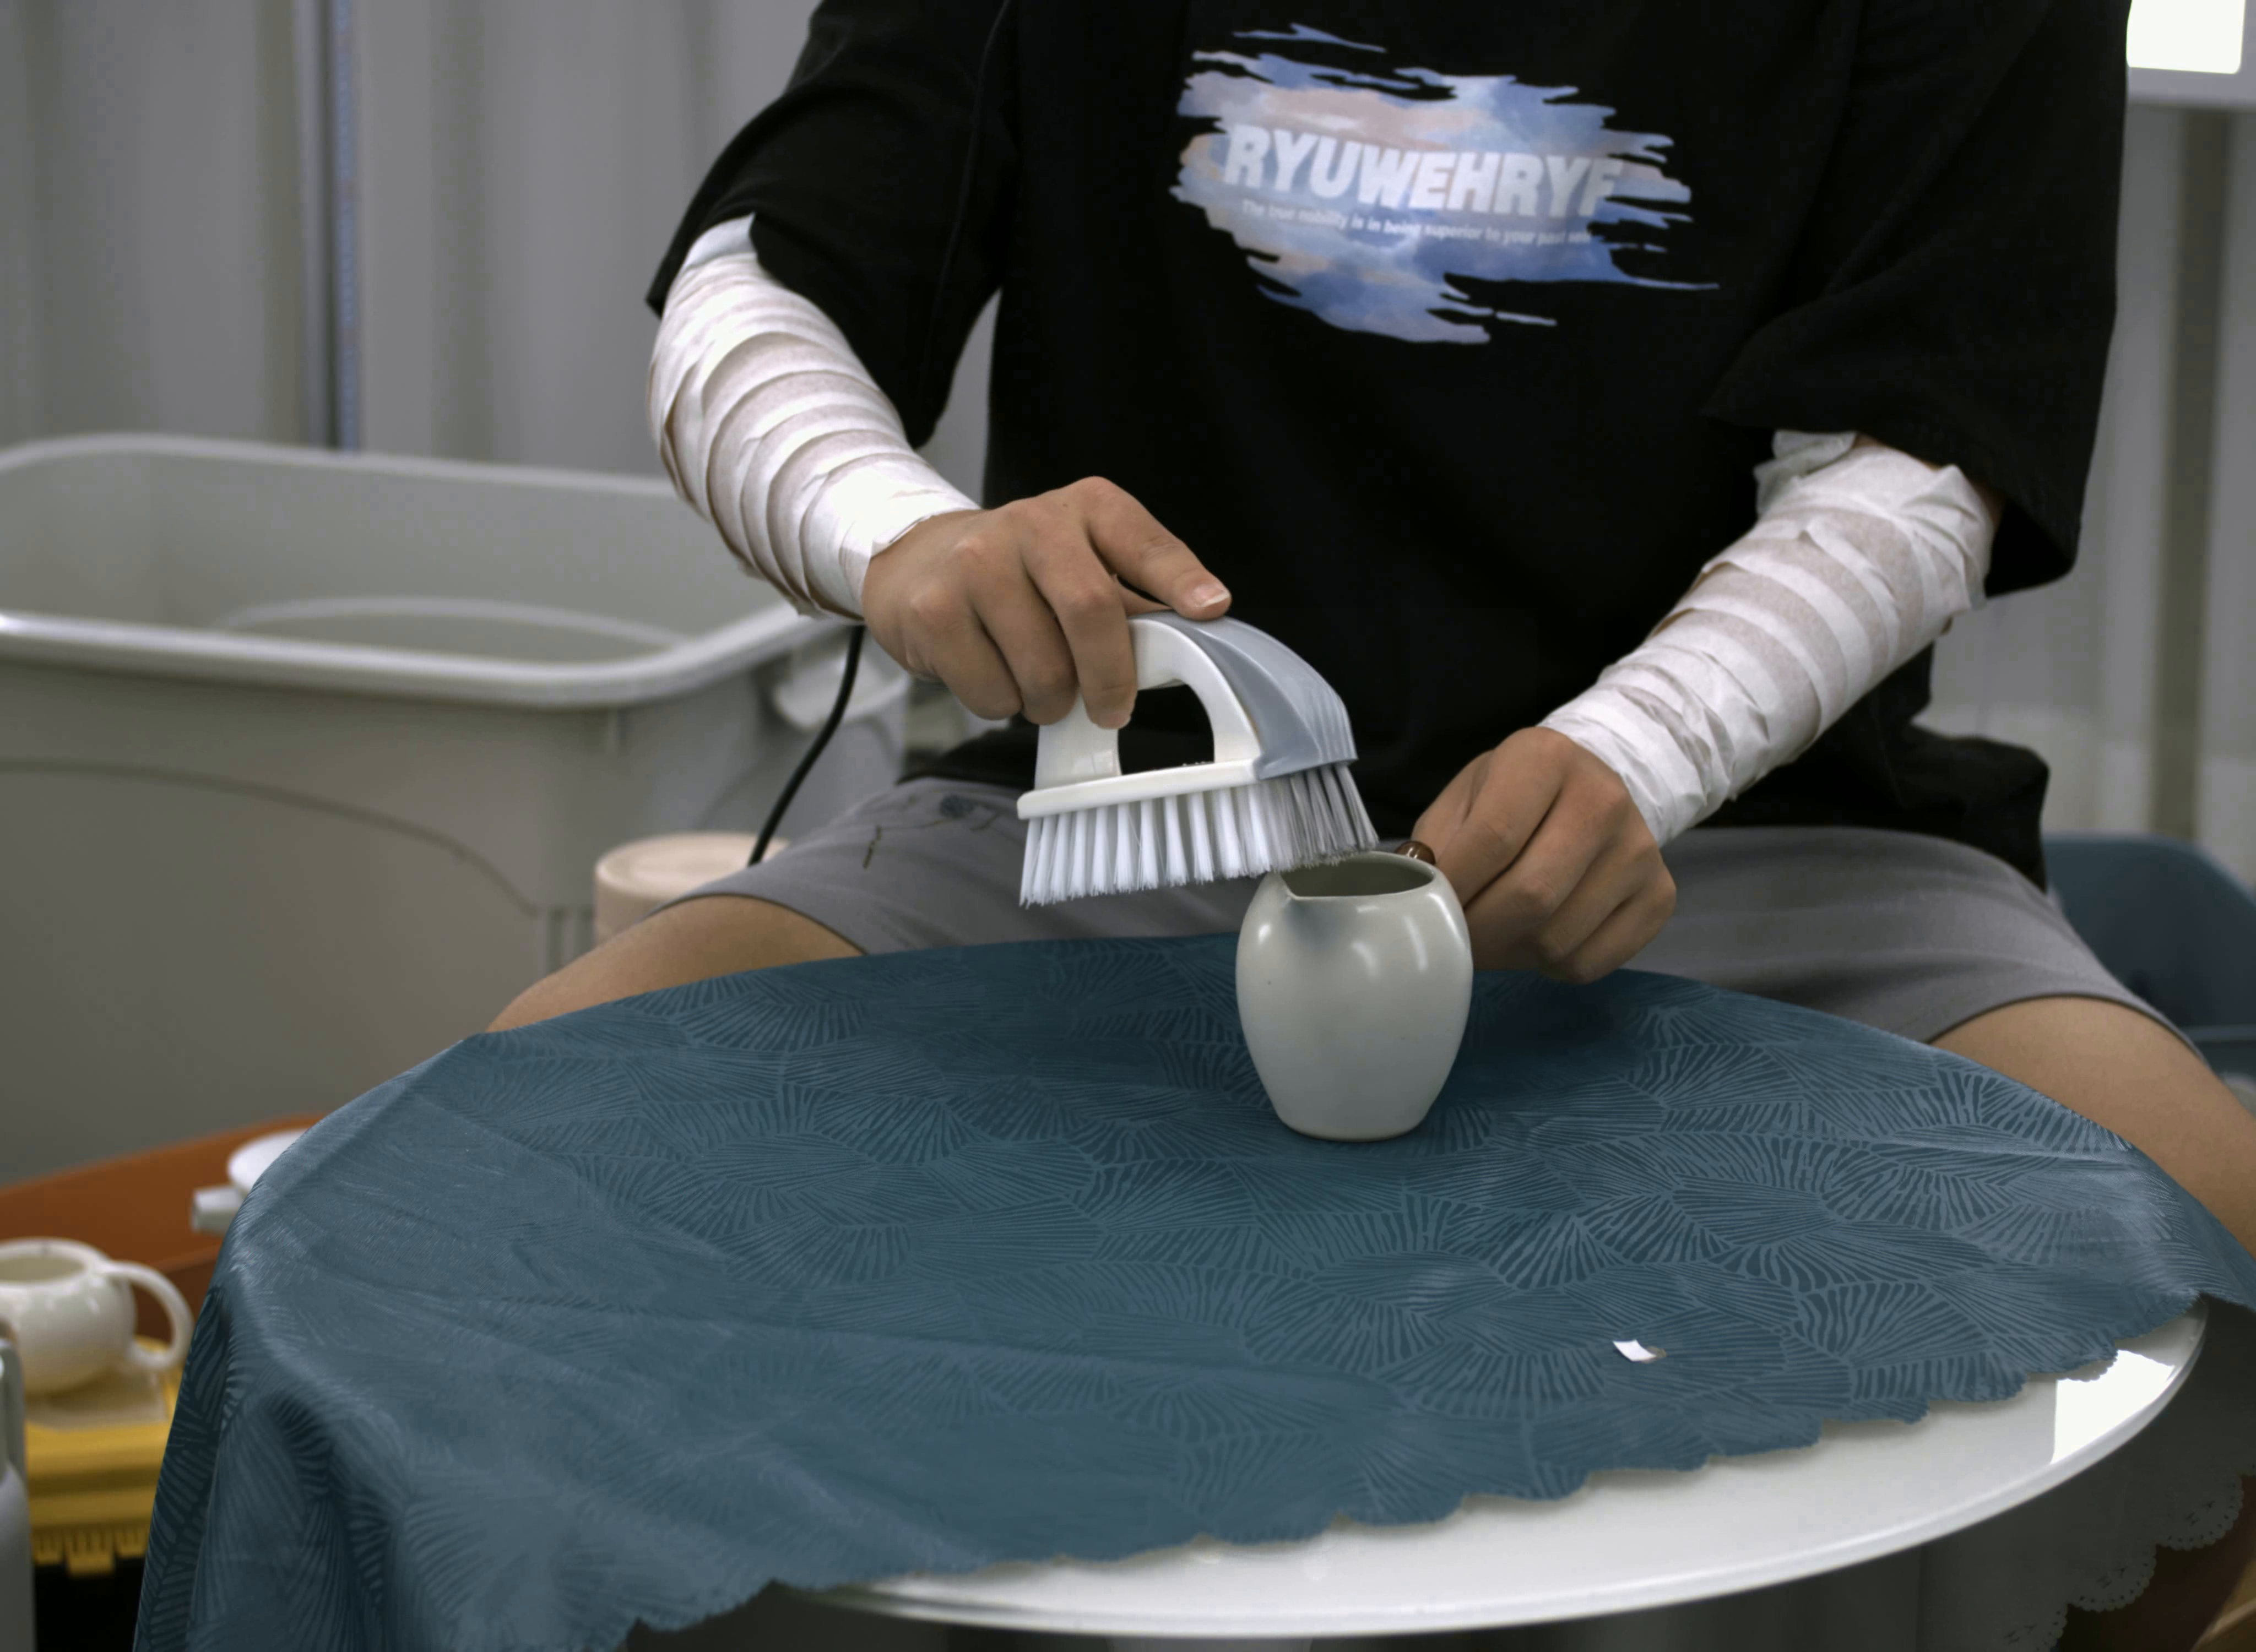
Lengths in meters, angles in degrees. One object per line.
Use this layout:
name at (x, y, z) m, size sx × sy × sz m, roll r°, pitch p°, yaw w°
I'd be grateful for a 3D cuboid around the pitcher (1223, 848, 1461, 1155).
pitcher at (0.071, 0.054, 1.678) m, size 0.075 × 0.088 × 0.119 m, roll 12°, pitch 20°, yaw 25°

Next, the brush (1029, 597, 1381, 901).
brush at (0.025, -0.029, 1.699) m, size 0.061 × 0.094 × 0.174 m, roll -15°, pitch 6°, yaw -29°
